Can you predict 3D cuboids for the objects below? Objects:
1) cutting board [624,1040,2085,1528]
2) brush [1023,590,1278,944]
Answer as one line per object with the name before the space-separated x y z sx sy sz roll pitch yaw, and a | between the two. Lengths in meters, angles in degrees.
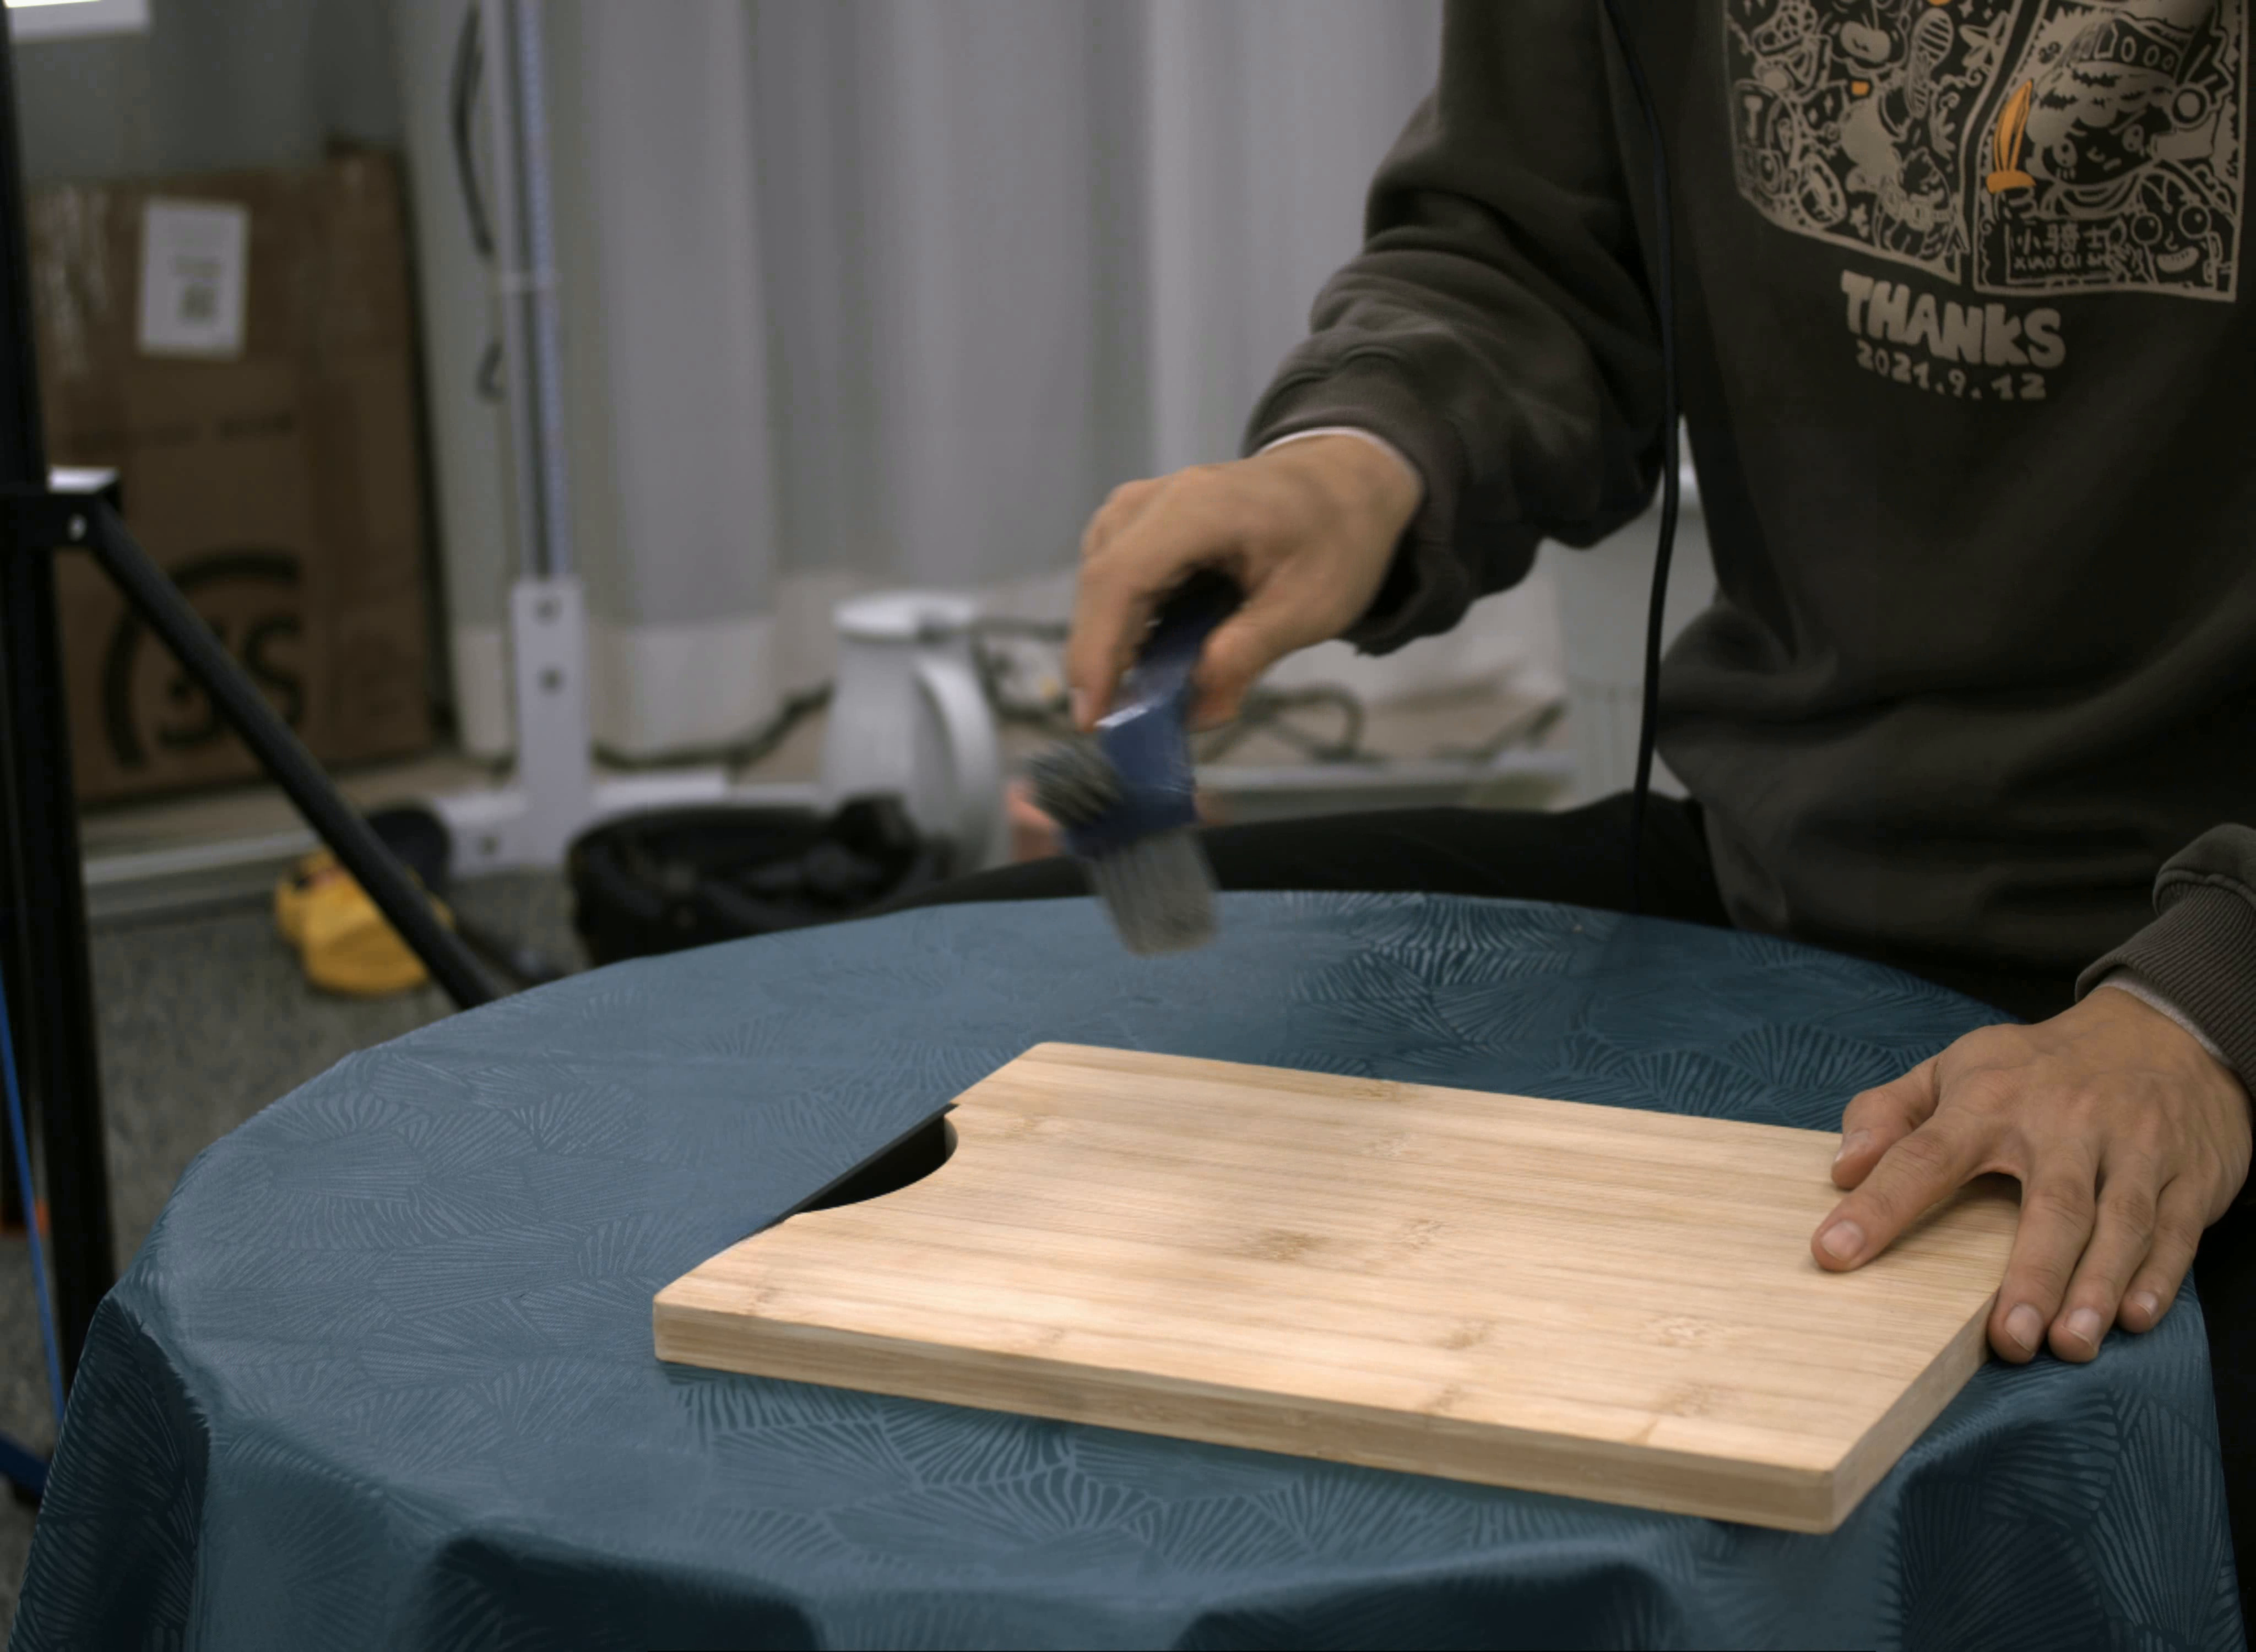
cutting board | 0.067 0.121 1.475 0.354 0.023 0.247 5 17 26
brush | 0.012 -0.037 1.573 0.034 0.095 0.274 -24 20 14
